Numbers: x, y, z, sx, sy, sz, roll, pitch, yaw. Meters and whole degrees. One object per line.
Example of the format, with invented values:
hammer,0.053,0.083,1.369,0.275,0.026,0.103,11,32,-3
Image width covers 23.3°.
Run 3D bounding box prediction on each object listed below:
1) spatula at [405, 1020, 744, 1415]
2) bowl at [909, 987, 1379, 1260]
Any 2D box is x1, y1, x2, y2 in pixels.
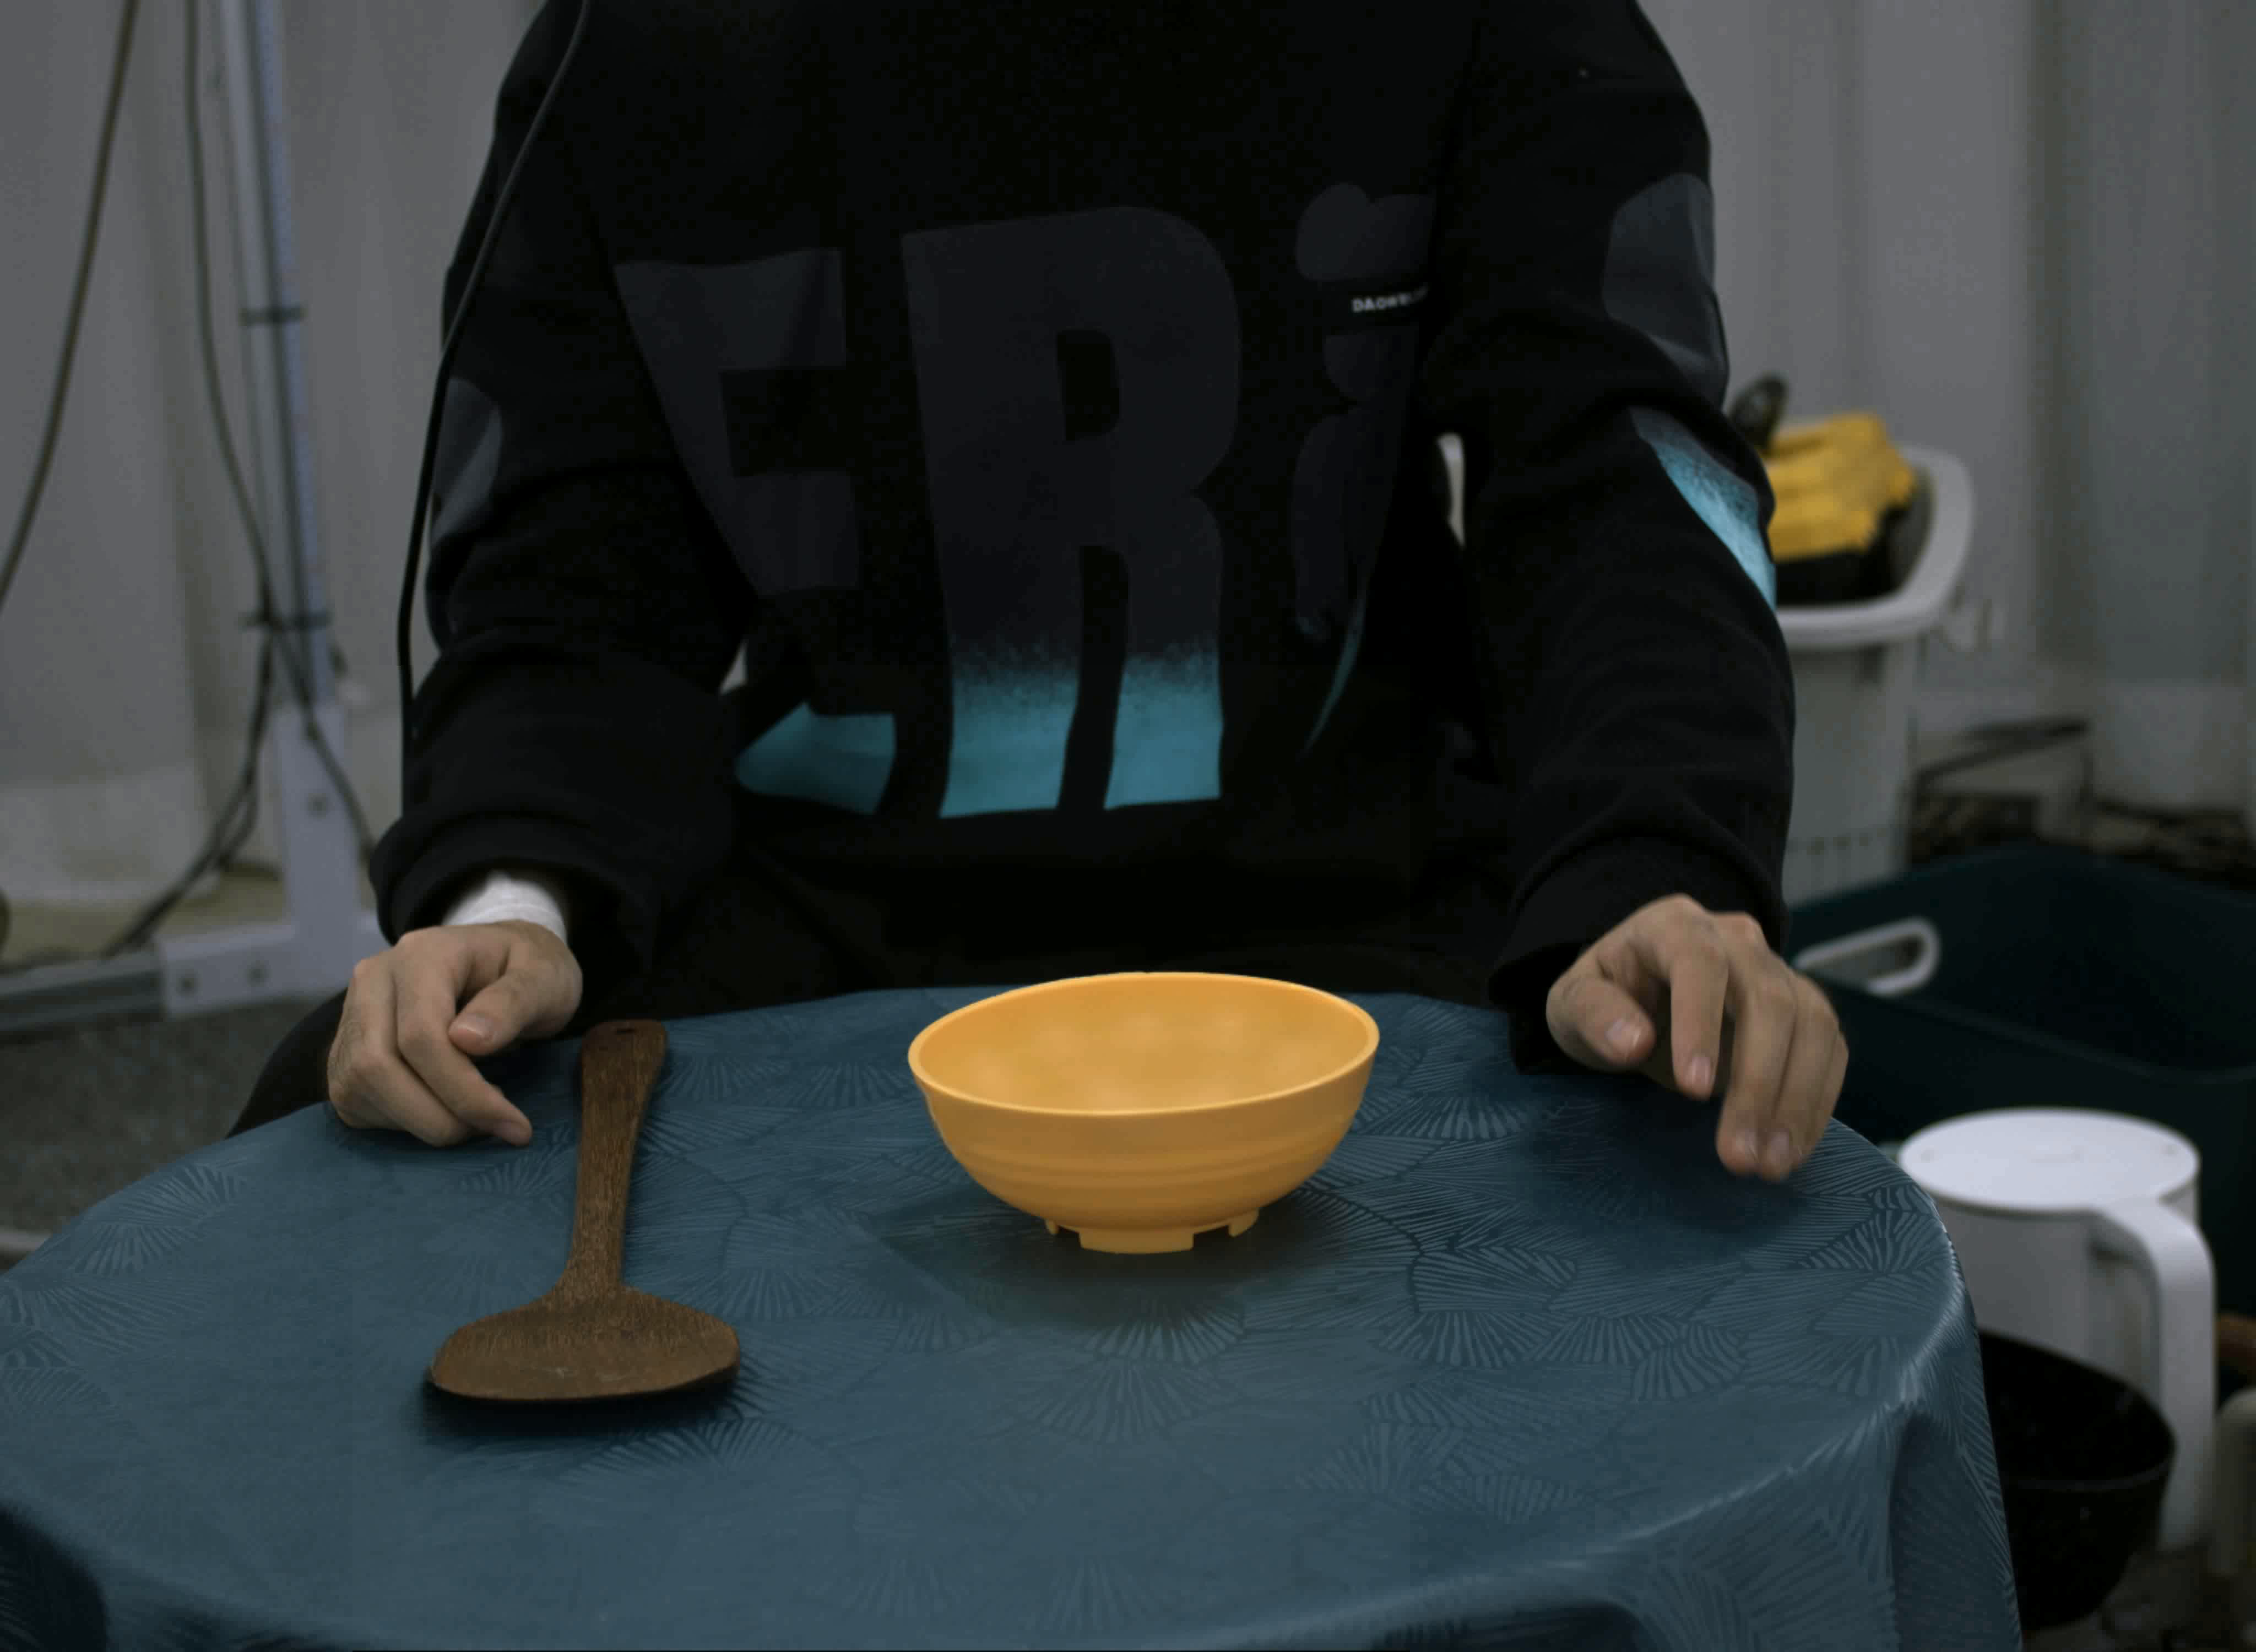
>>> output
spatula,-0.165,0.116,1.714,0.096,0.016,0.388,-3,15,-2
bowl,0.006,0.095,1.679,0.145,0.060,0.146,-2,13,0
